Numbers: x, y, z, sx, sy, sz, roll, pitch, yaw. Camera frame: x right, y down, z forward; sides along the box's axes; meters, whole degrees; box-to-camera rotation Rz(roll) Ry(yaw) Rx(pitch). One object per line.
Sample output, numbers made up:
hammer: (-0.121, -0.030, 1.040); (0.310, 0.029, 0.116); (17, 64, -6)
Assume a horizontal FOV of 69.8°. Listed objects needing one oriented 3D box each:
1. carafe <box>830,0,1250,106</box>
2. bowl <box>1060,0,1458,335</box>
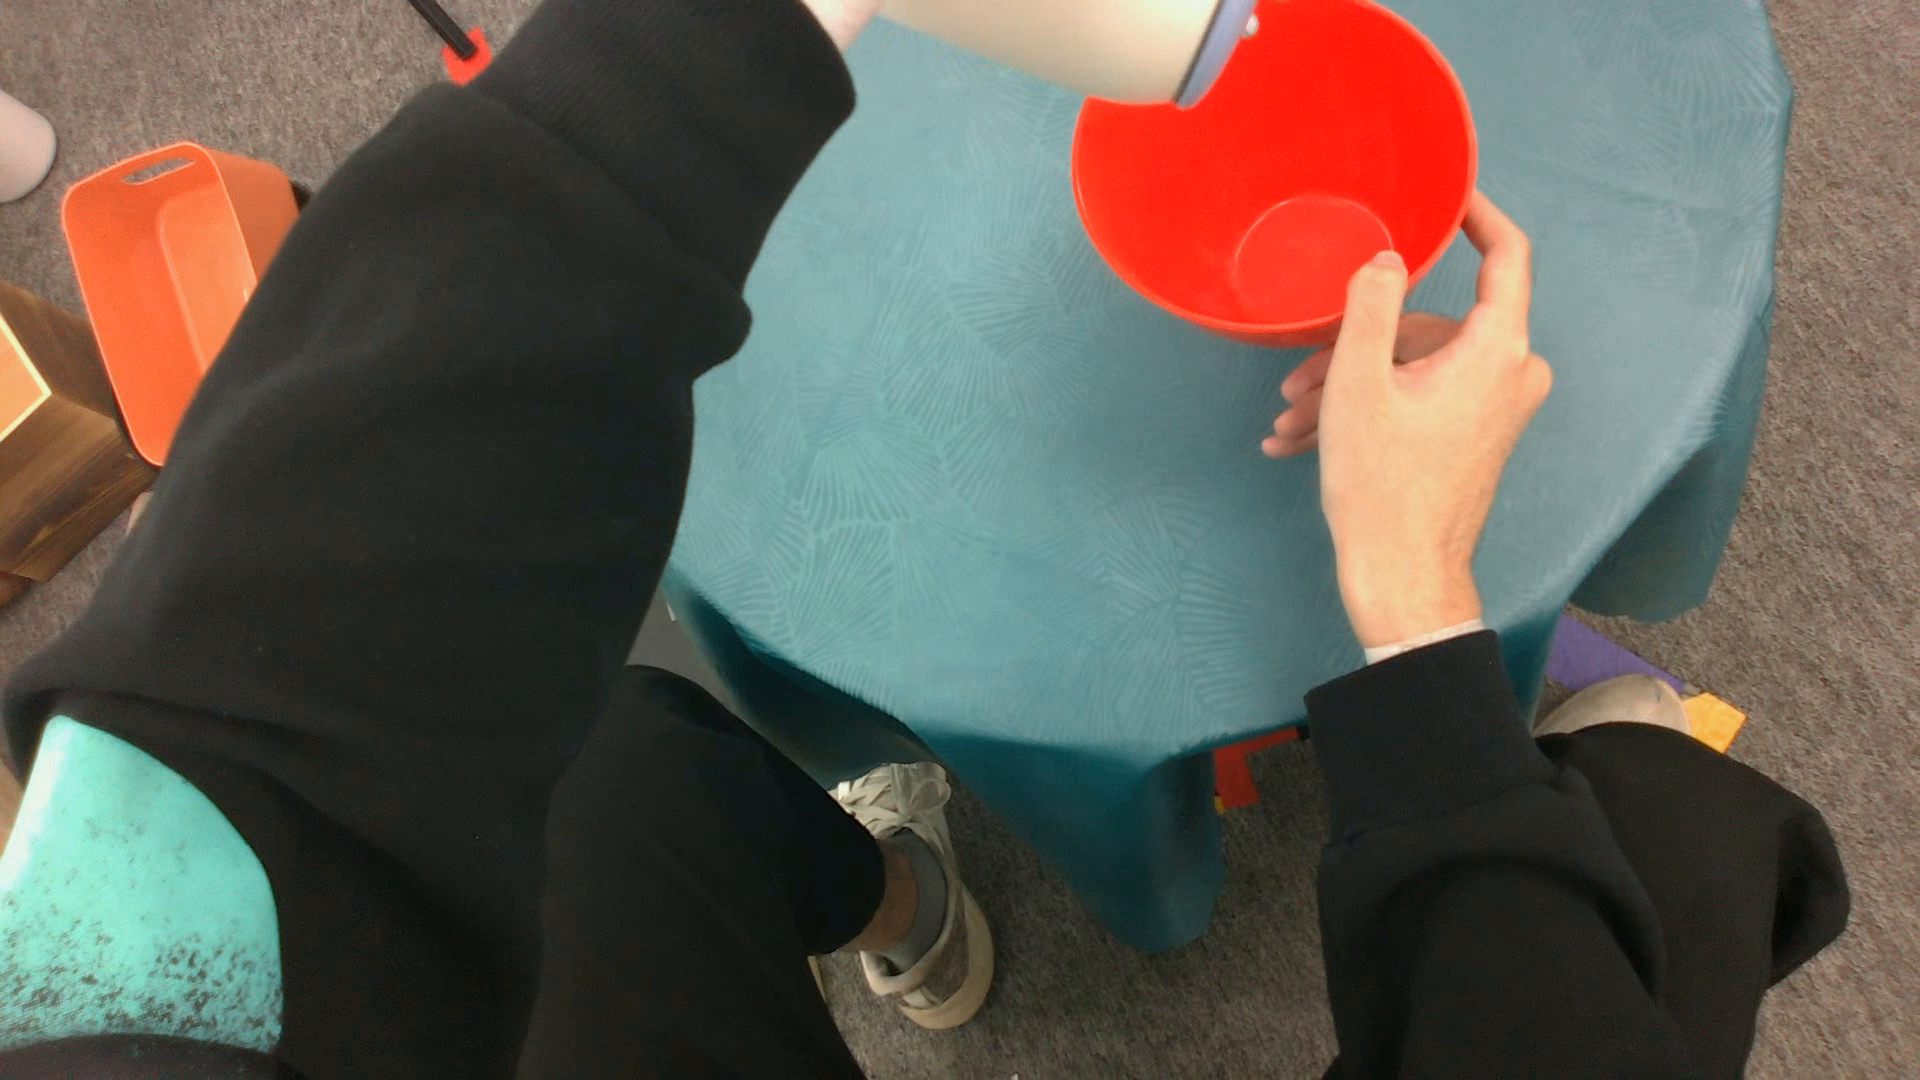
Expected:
carafe: (0.009, -0.216, 0.383); (0.182, 0.191, 0.132); (19, 88, 0)
bowl: (0.125, -0.141, 0.563); (0.148, 0.104, 0.148); (-6, 70, 16)
